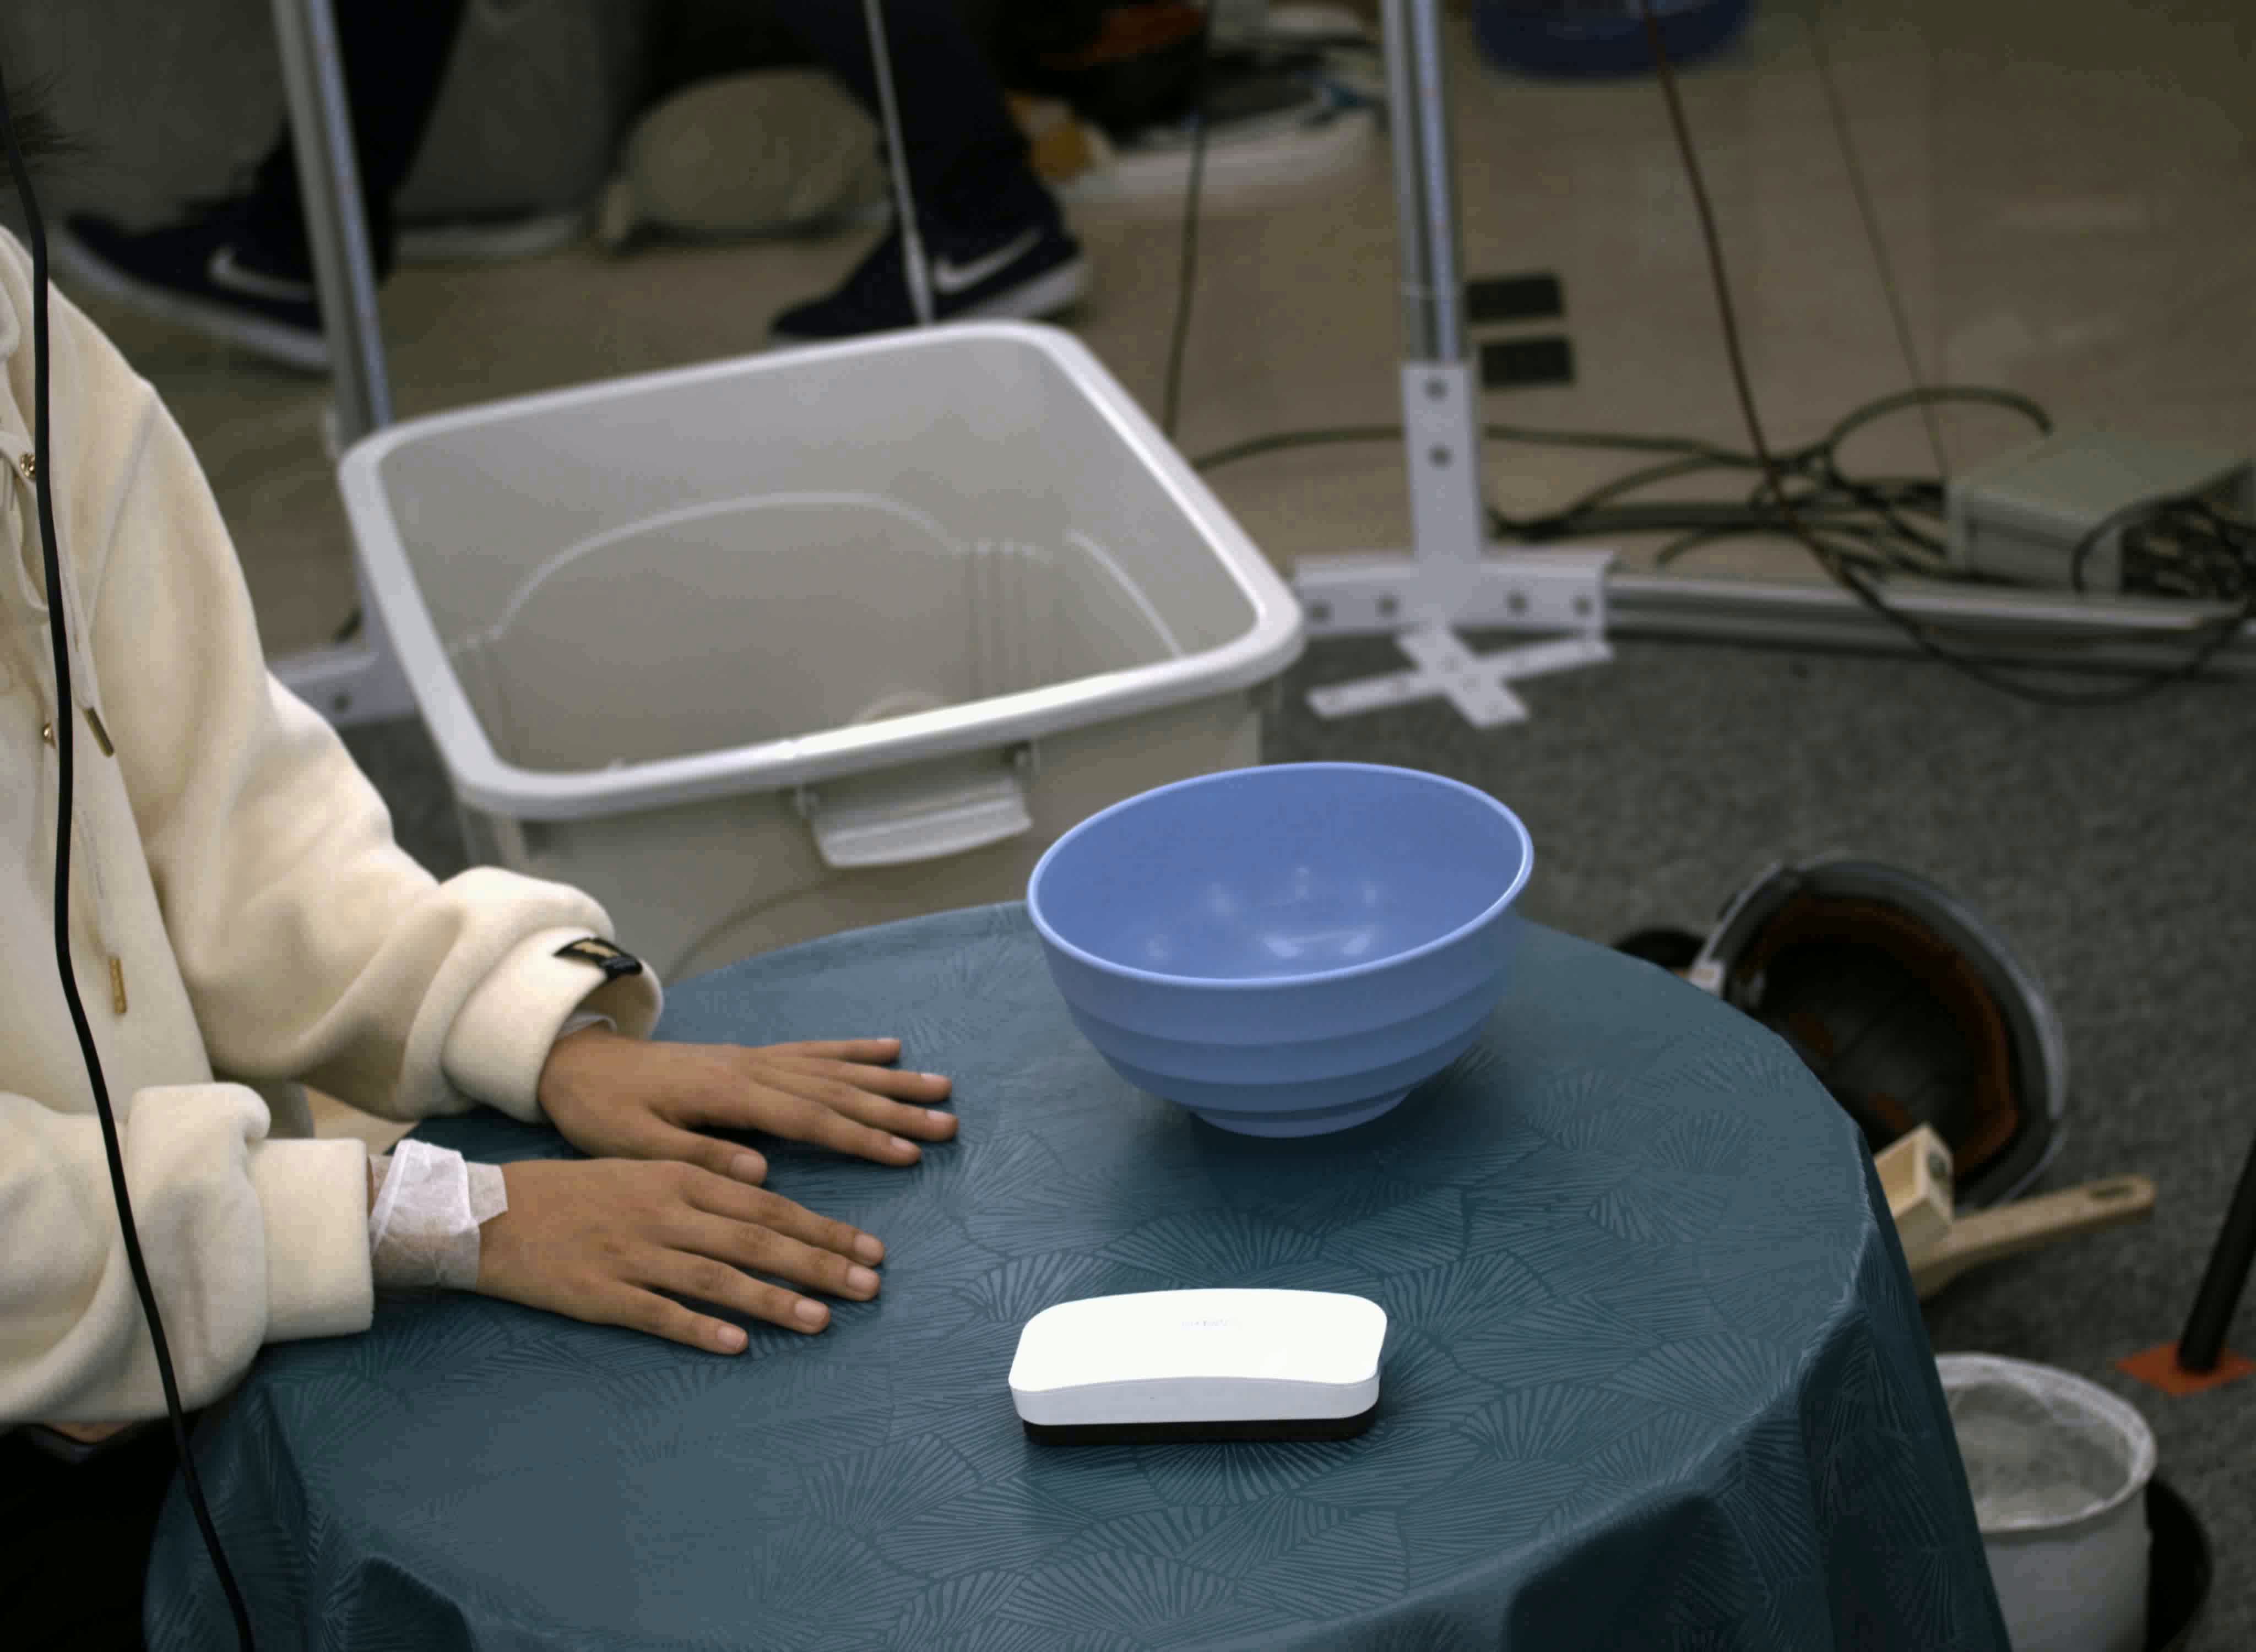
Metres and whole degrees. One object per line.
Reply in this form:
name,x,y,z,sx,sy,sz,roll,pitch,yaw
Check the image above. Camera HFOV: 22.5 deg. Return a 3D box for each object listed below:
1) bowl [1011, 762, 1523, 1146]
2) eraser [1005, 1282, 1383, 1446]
bowl,0.055,0.060,2.193,0.196,0.097,0.193,-2,29,1
eraser,0.024,0.190,1.996,0.131,0.035,0.062,-1,24,9
